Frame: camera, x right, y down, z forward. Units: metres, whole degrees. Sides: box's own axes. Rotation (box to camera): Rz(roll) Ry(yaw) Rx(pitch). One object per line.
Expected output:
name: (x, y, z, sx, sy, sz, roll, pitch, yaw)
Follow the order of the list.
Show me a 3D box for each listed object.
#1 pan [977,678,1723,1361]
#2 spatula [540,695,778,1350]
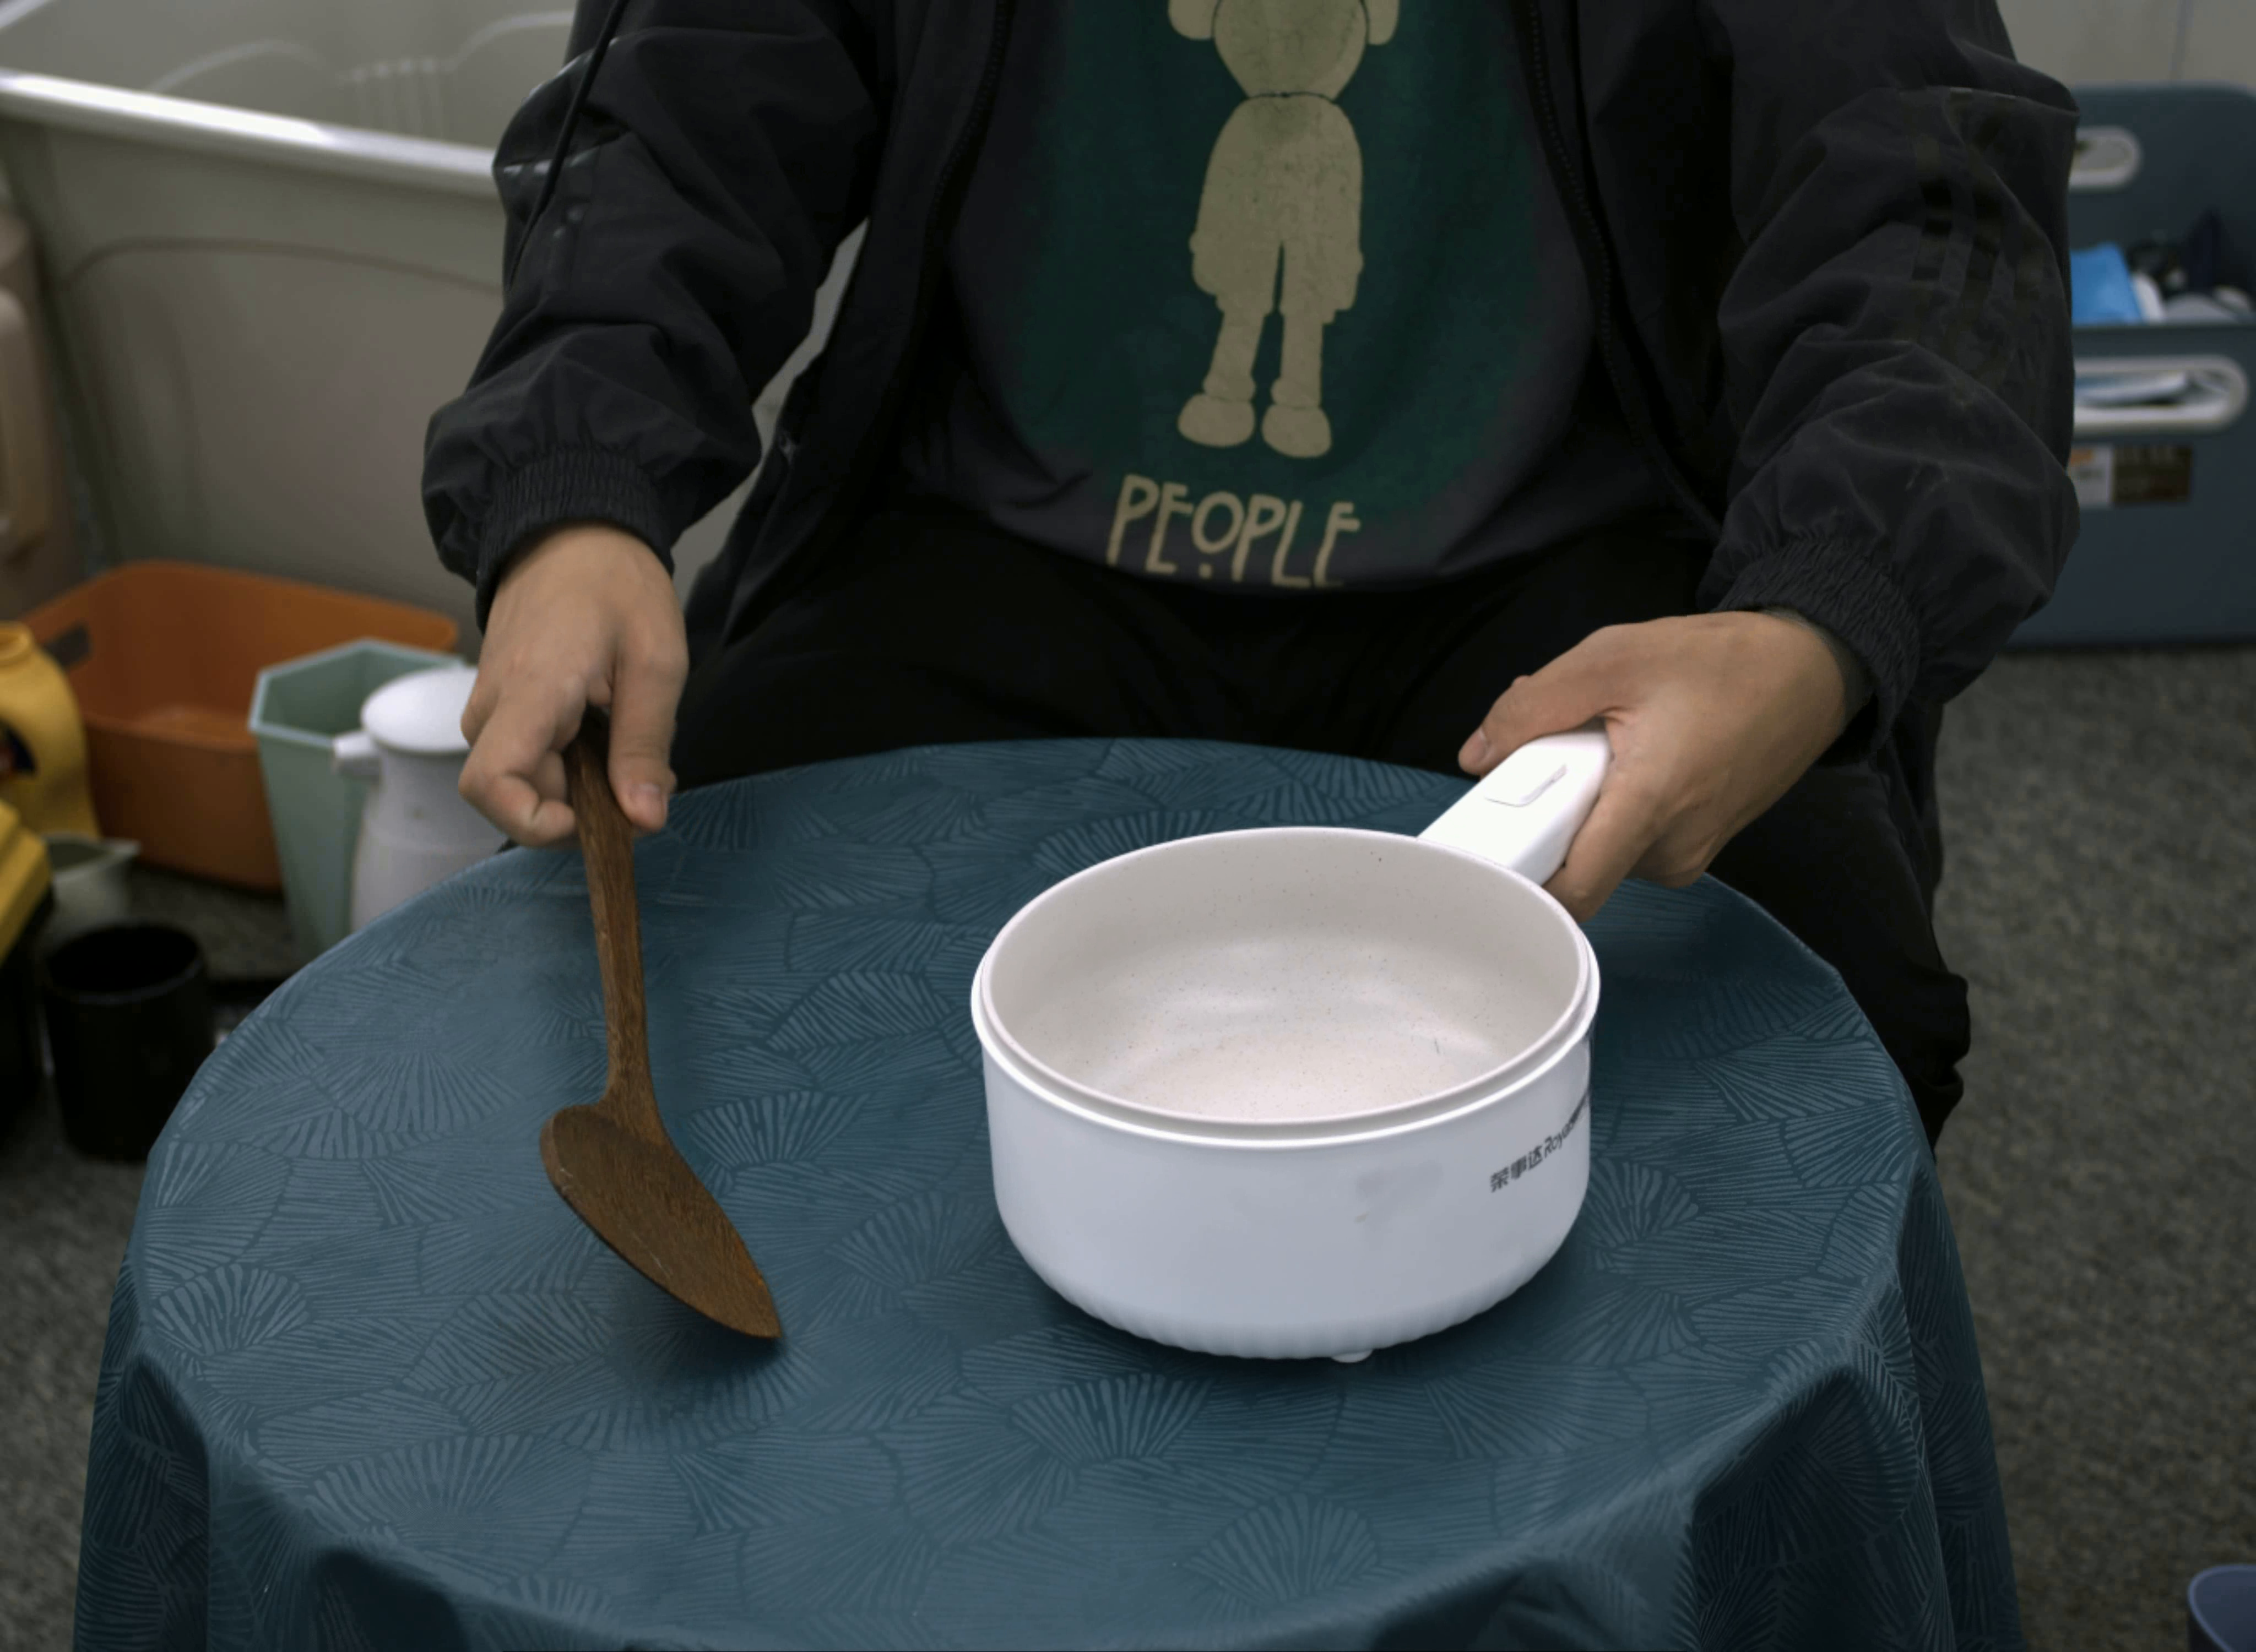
pan: (0.095, 0.060, 1.865, 0.200, 0.101, 0.360, 14, 30, 30)
spatula: (-0.172, 0.052, 1.912, 0.015, 0.095, 0.391, -44, 27, 16)
